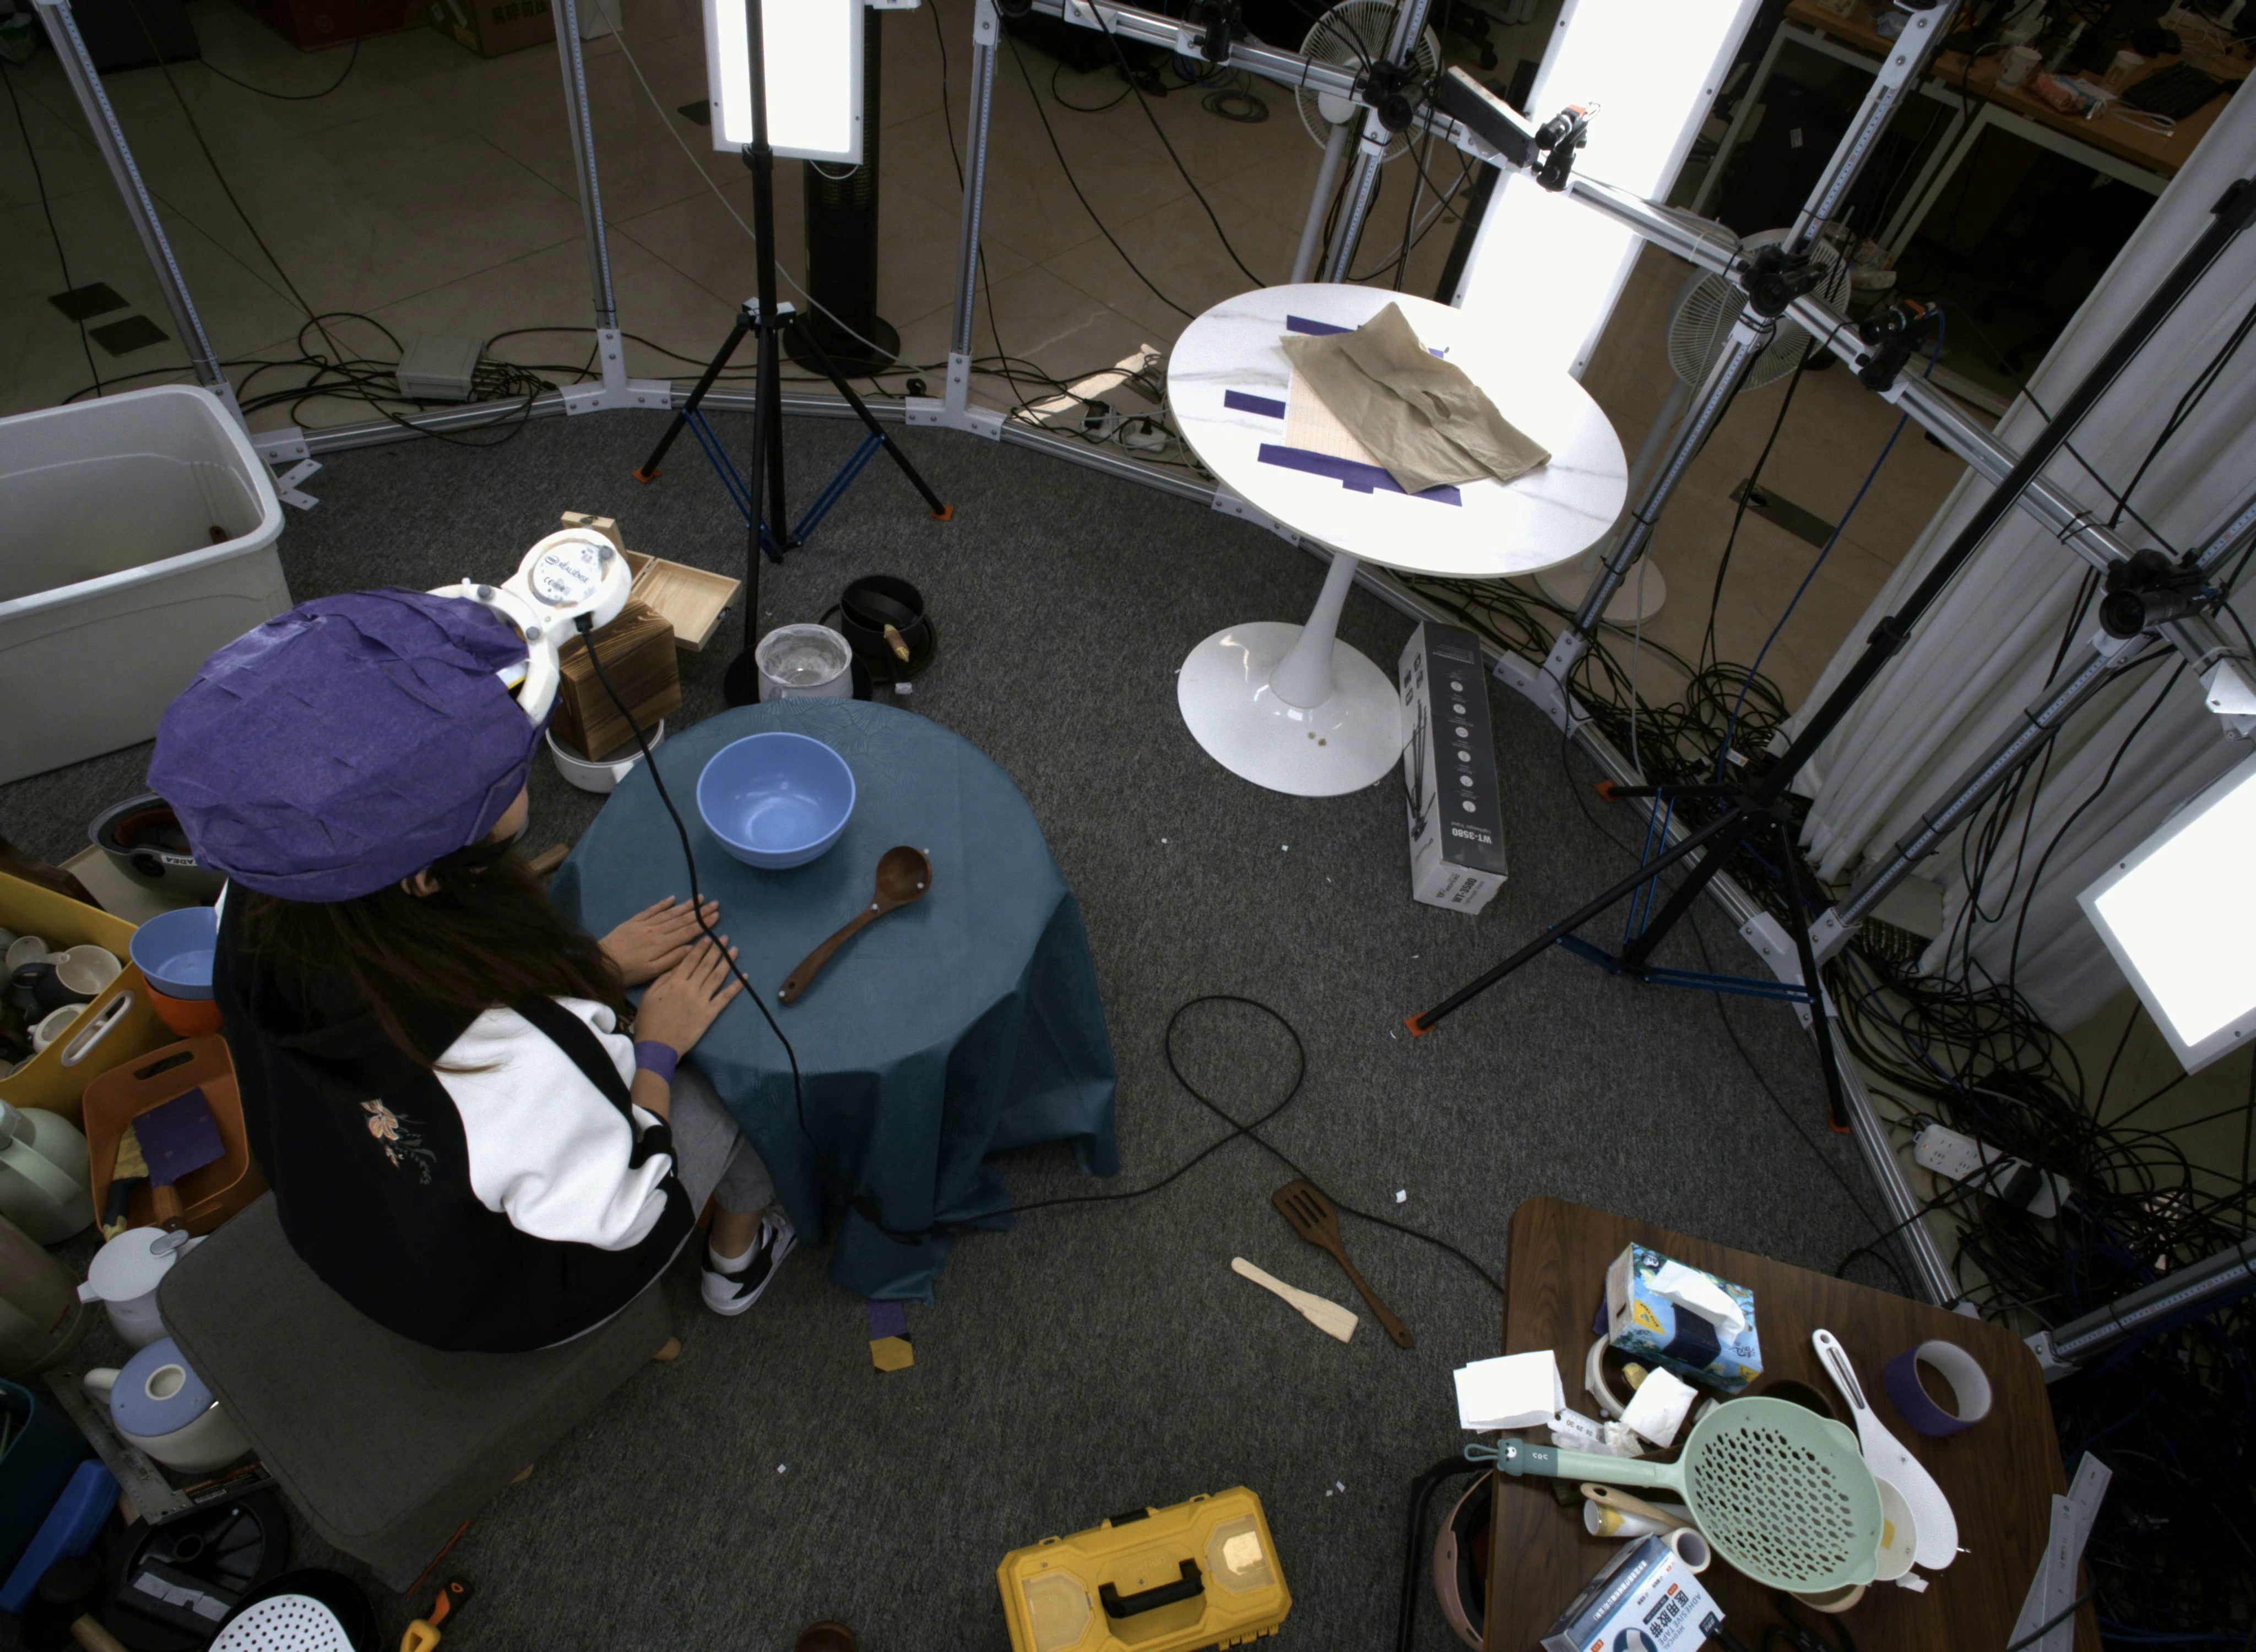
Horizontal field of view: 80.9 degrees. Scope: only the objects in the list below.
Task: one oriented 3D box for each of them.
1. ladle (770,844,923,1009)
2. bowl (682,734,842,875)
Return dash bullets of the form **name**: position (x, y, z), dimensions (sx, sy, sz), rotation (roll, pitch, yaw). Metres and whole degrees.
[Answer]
- **ladle**: position (-0.352, 0.119, 1.608), dimensions (0.074, 0.067, 0.260), rotation (30, 52, 18)
- **bowl**: position (-0.470, -0.014, 1.656), dimensions (0.197, 0.097, 0.193), rotation (12, 51, -13)
